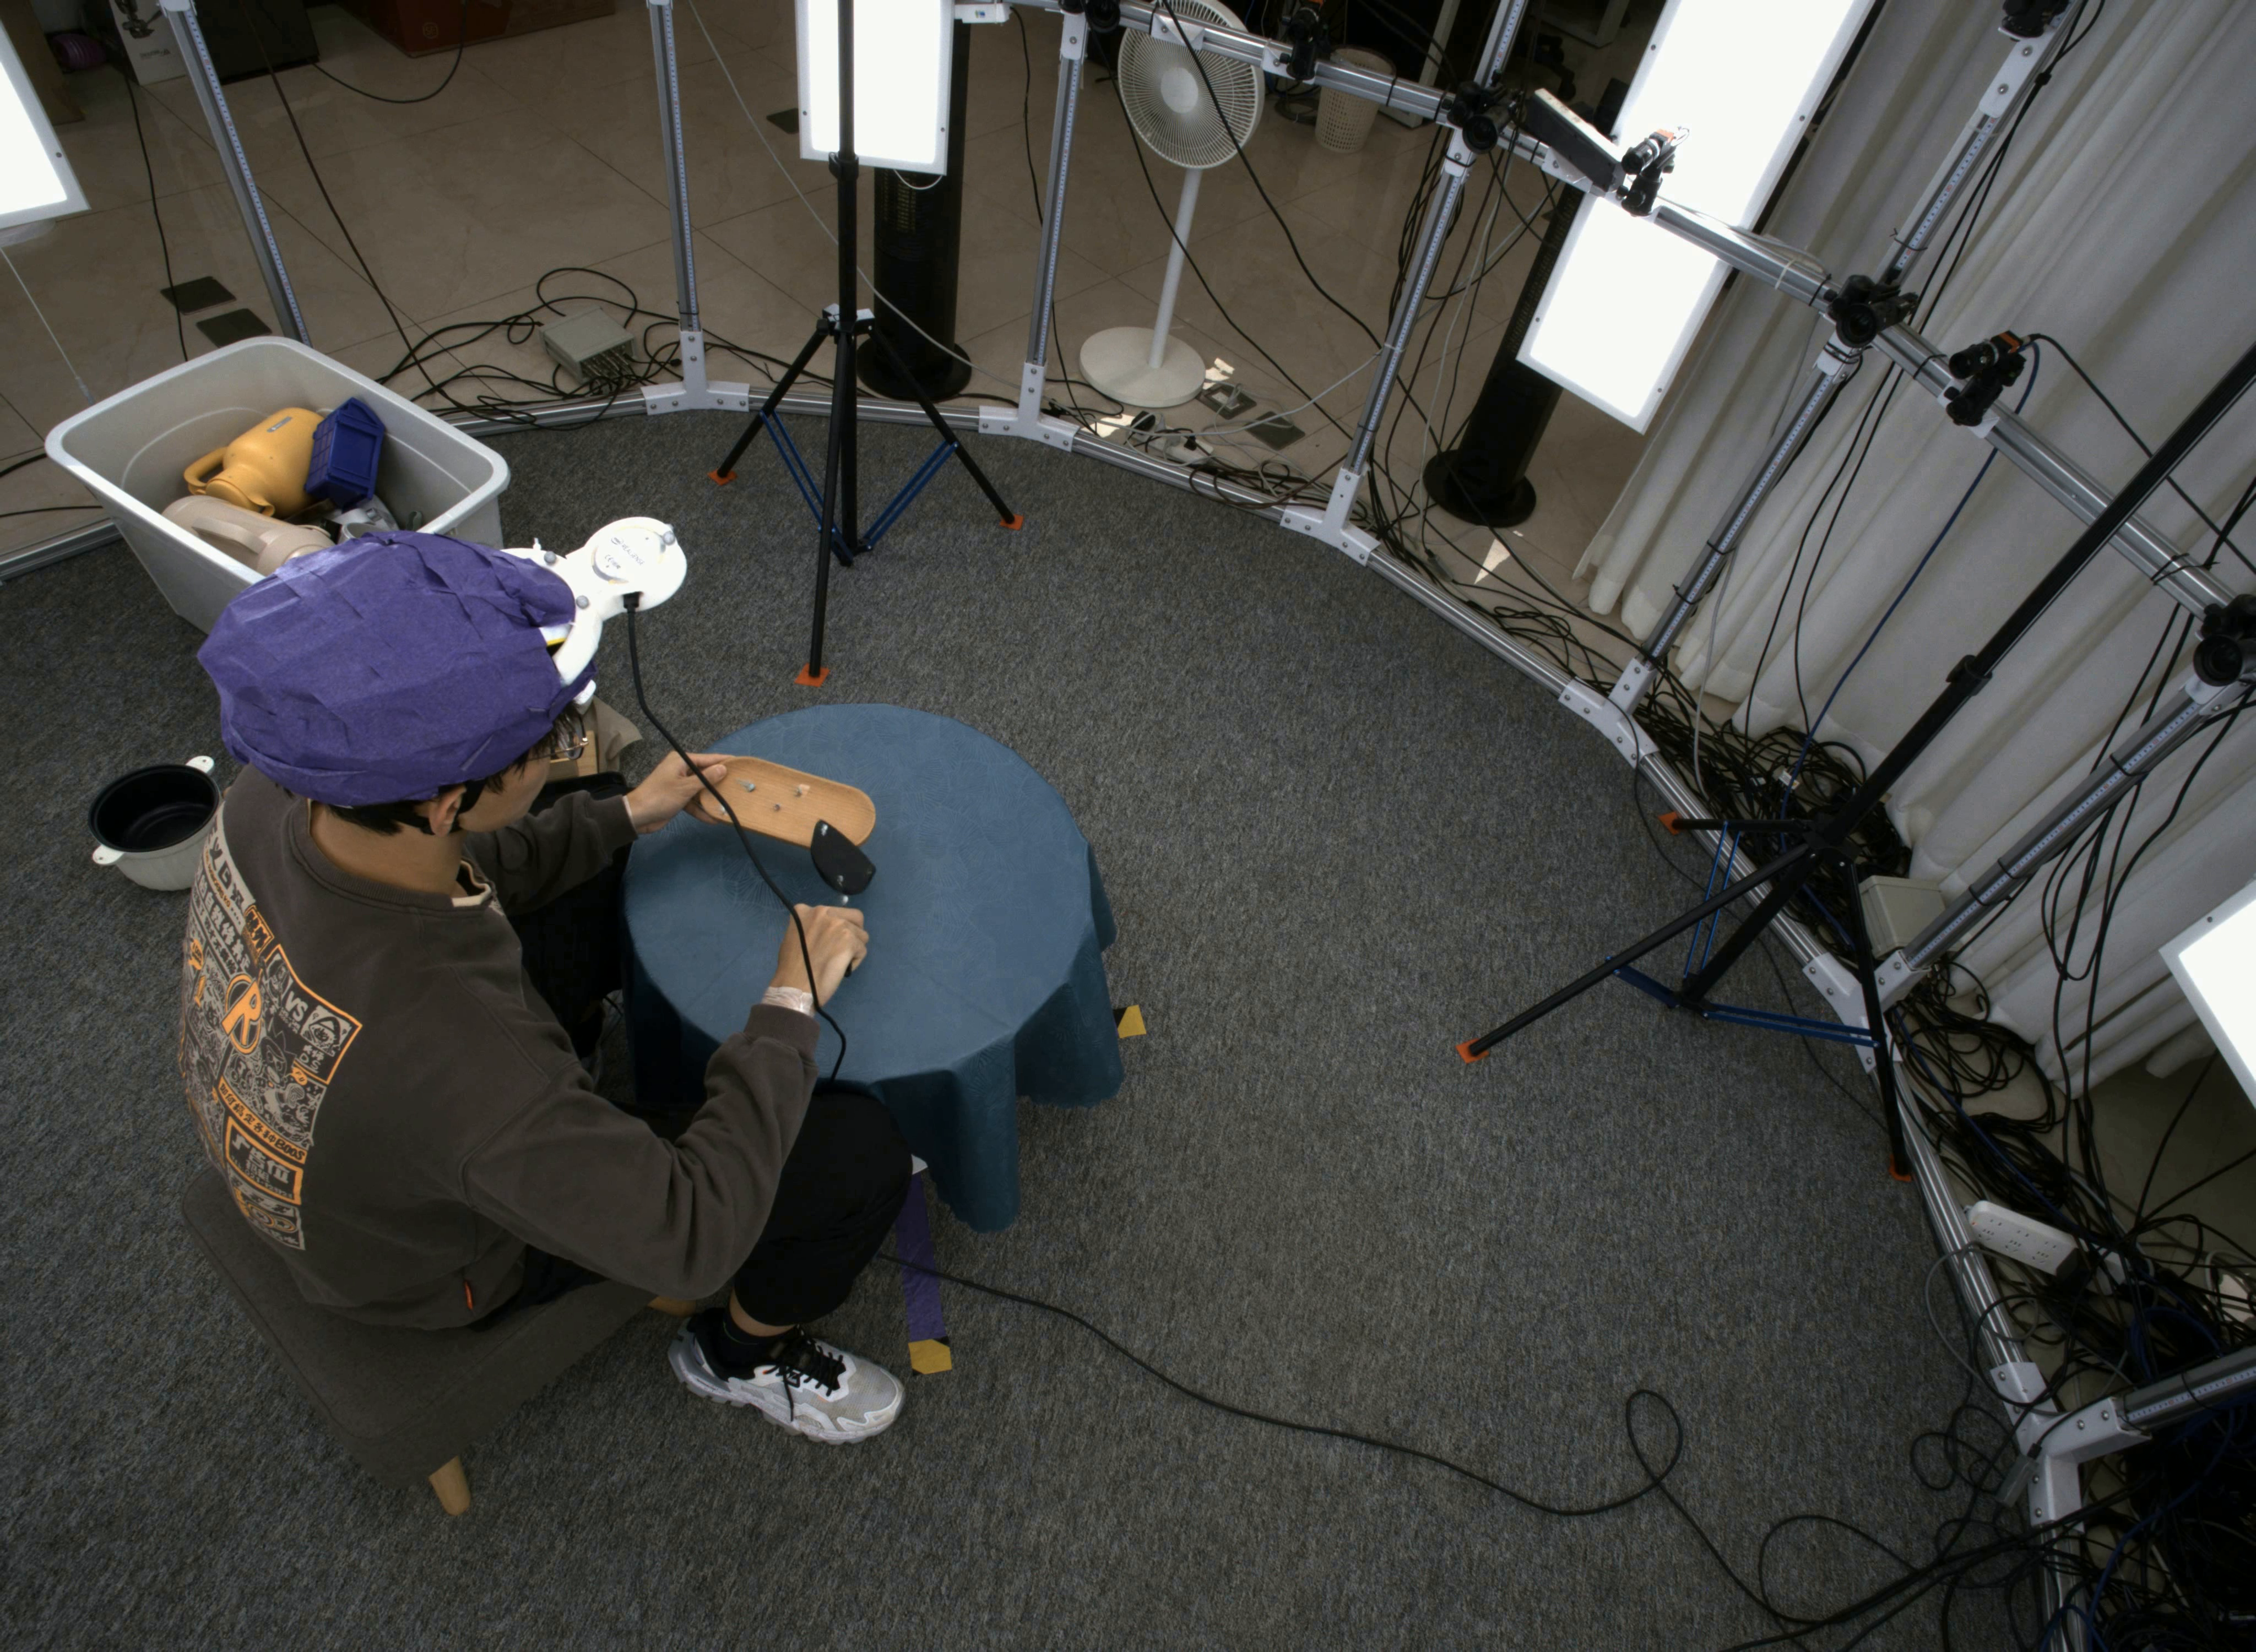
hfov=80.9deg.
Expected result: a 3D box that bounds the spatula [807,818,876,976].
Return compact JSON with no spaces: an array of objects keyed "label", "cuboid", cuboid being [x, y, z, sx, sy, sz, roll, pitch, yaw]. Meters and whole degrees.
[{"label":"spatula","cuboid":[-0.322,0.083,1.453,0.102,0.040,0.317,42,5,-25]}]

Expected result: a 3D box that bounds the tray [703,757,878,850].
[{"label":"tray","cuboid":[-0.426,-0.025,1.635,0.228,0.021,0.101,17,59,3]}]
